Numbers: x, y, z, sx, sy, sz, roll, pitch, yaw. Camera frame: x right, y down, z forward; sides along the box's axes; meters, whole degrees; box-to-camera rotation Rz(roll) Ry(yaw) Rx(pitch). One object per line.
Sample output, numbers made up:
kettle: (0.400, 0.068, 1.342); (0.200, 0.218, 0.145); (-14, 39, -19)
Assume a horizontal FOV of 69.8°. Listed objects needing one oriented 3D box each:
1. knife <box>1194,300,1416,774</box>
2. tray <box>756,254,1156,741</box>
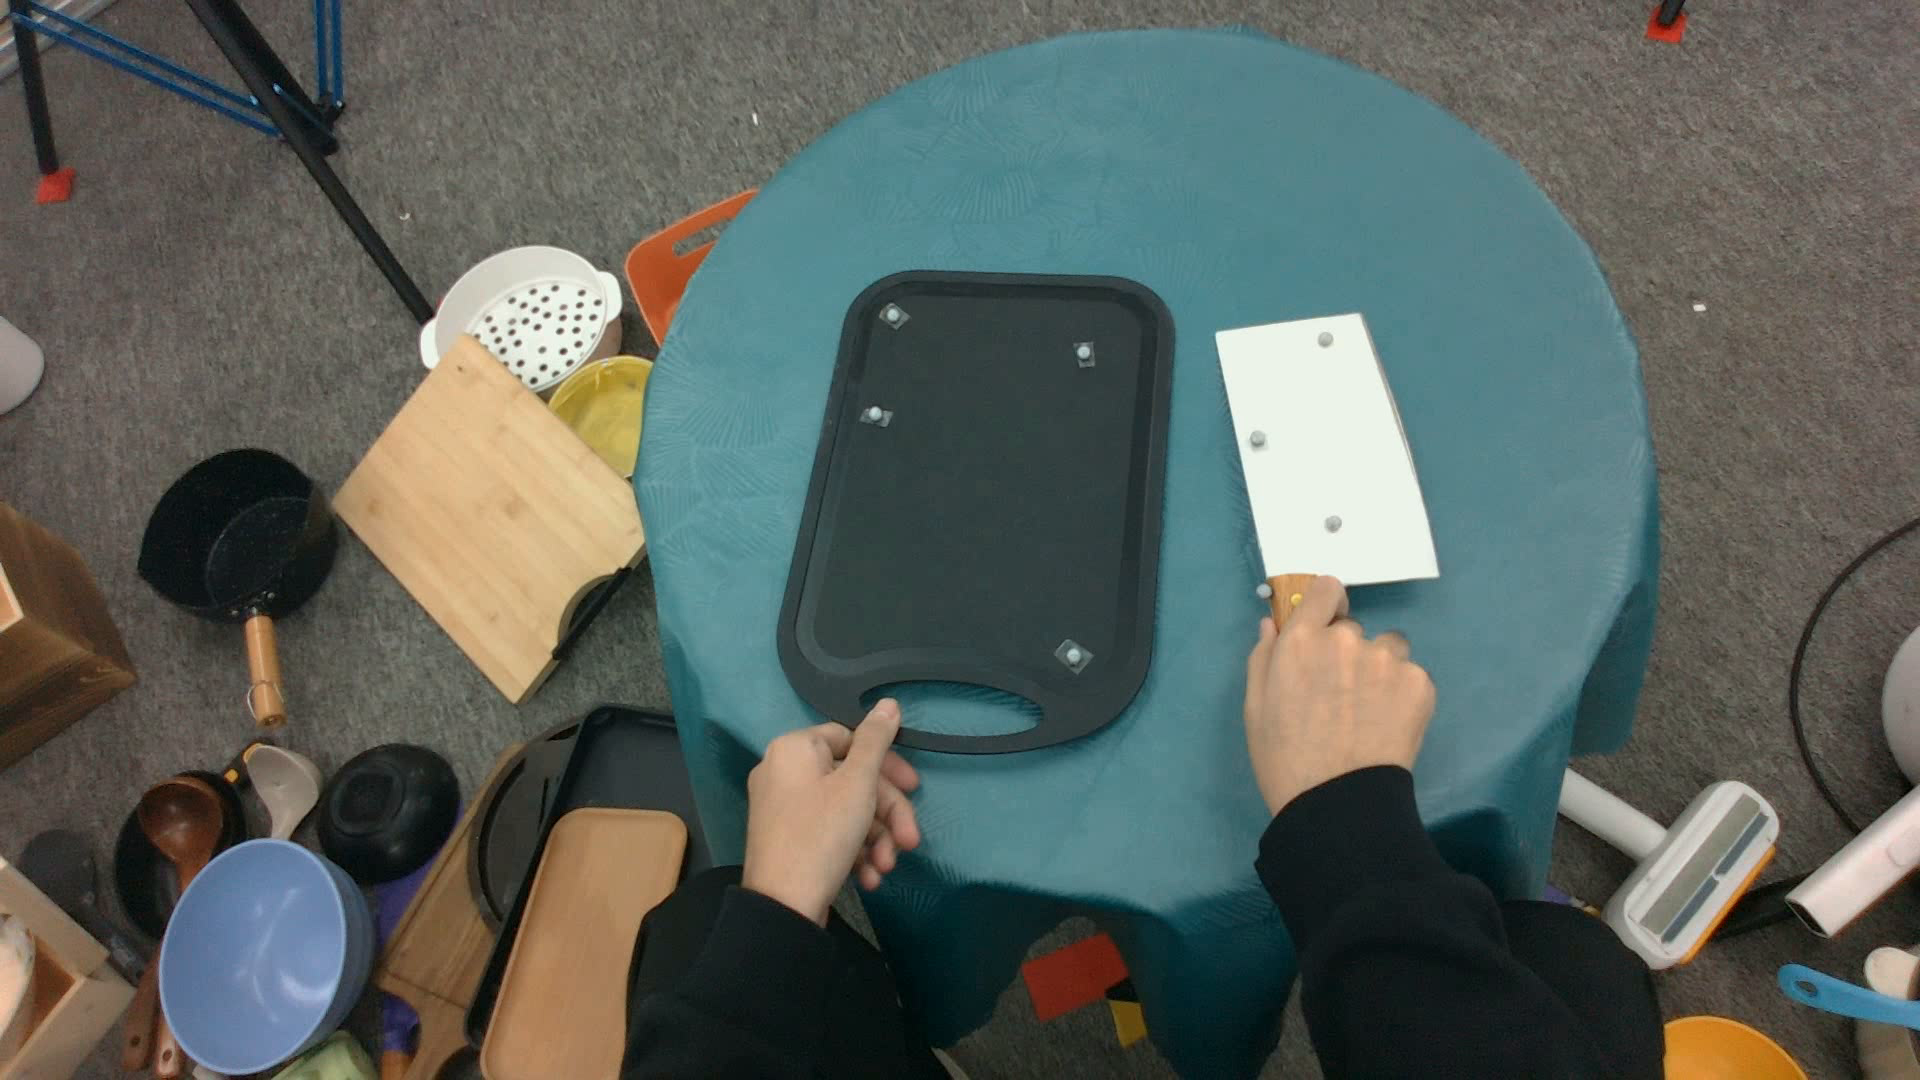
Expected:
knife: (0.196, -0.017, 0.757); (0.093, 0.021, 0.307); (-6, 56, 3)
tray: (0.002, -0.038, 0.800); (0.211, 0.010, 0.327); (4, 62, 8)
